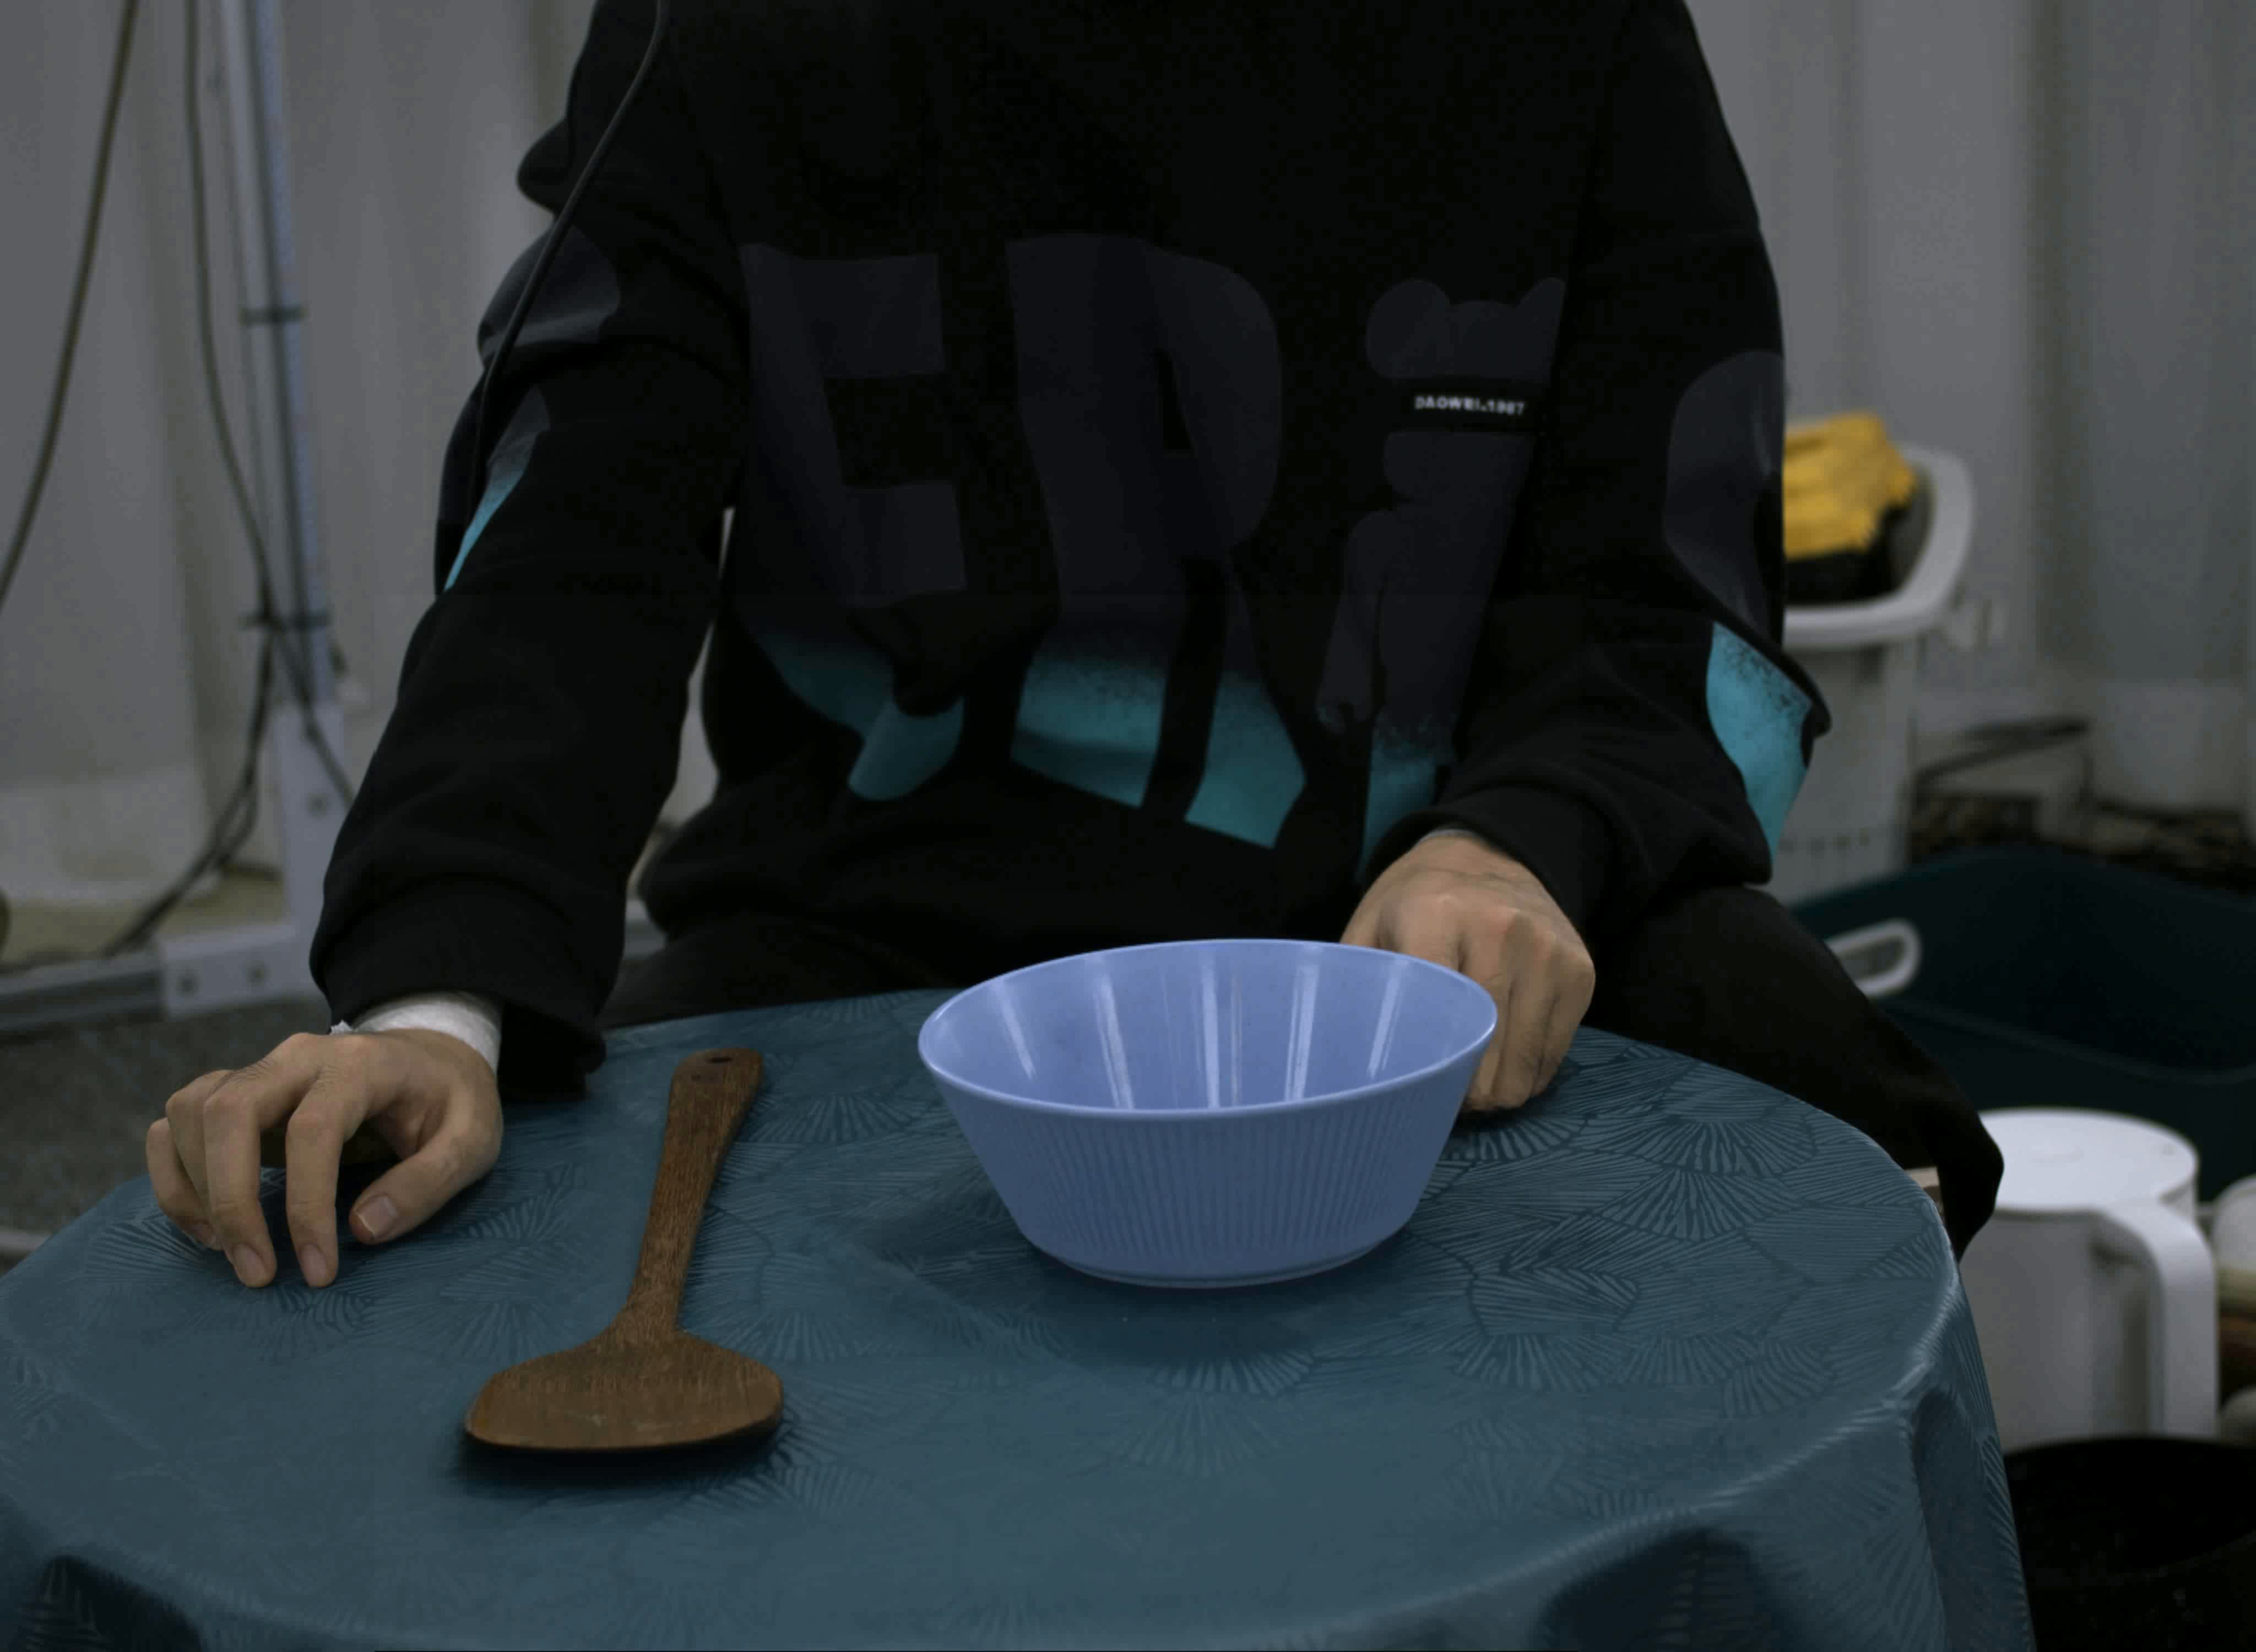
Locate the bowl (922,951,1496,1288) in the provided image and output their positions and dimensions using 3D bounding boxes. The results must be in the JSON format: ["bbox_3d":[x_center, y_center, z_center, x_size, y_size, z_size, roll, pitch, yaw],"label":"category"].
[{"bbox_3d":[0.026,0.091,1.664,0.175,0.070,0.177,-3,13,0],"label":"bowl"}]

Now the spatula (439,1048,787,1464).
[{"bbox_3d":[-0.141,0.125,1.676,0.096,0.016,0.388,-2,15,1],"label":"spatula"}]
